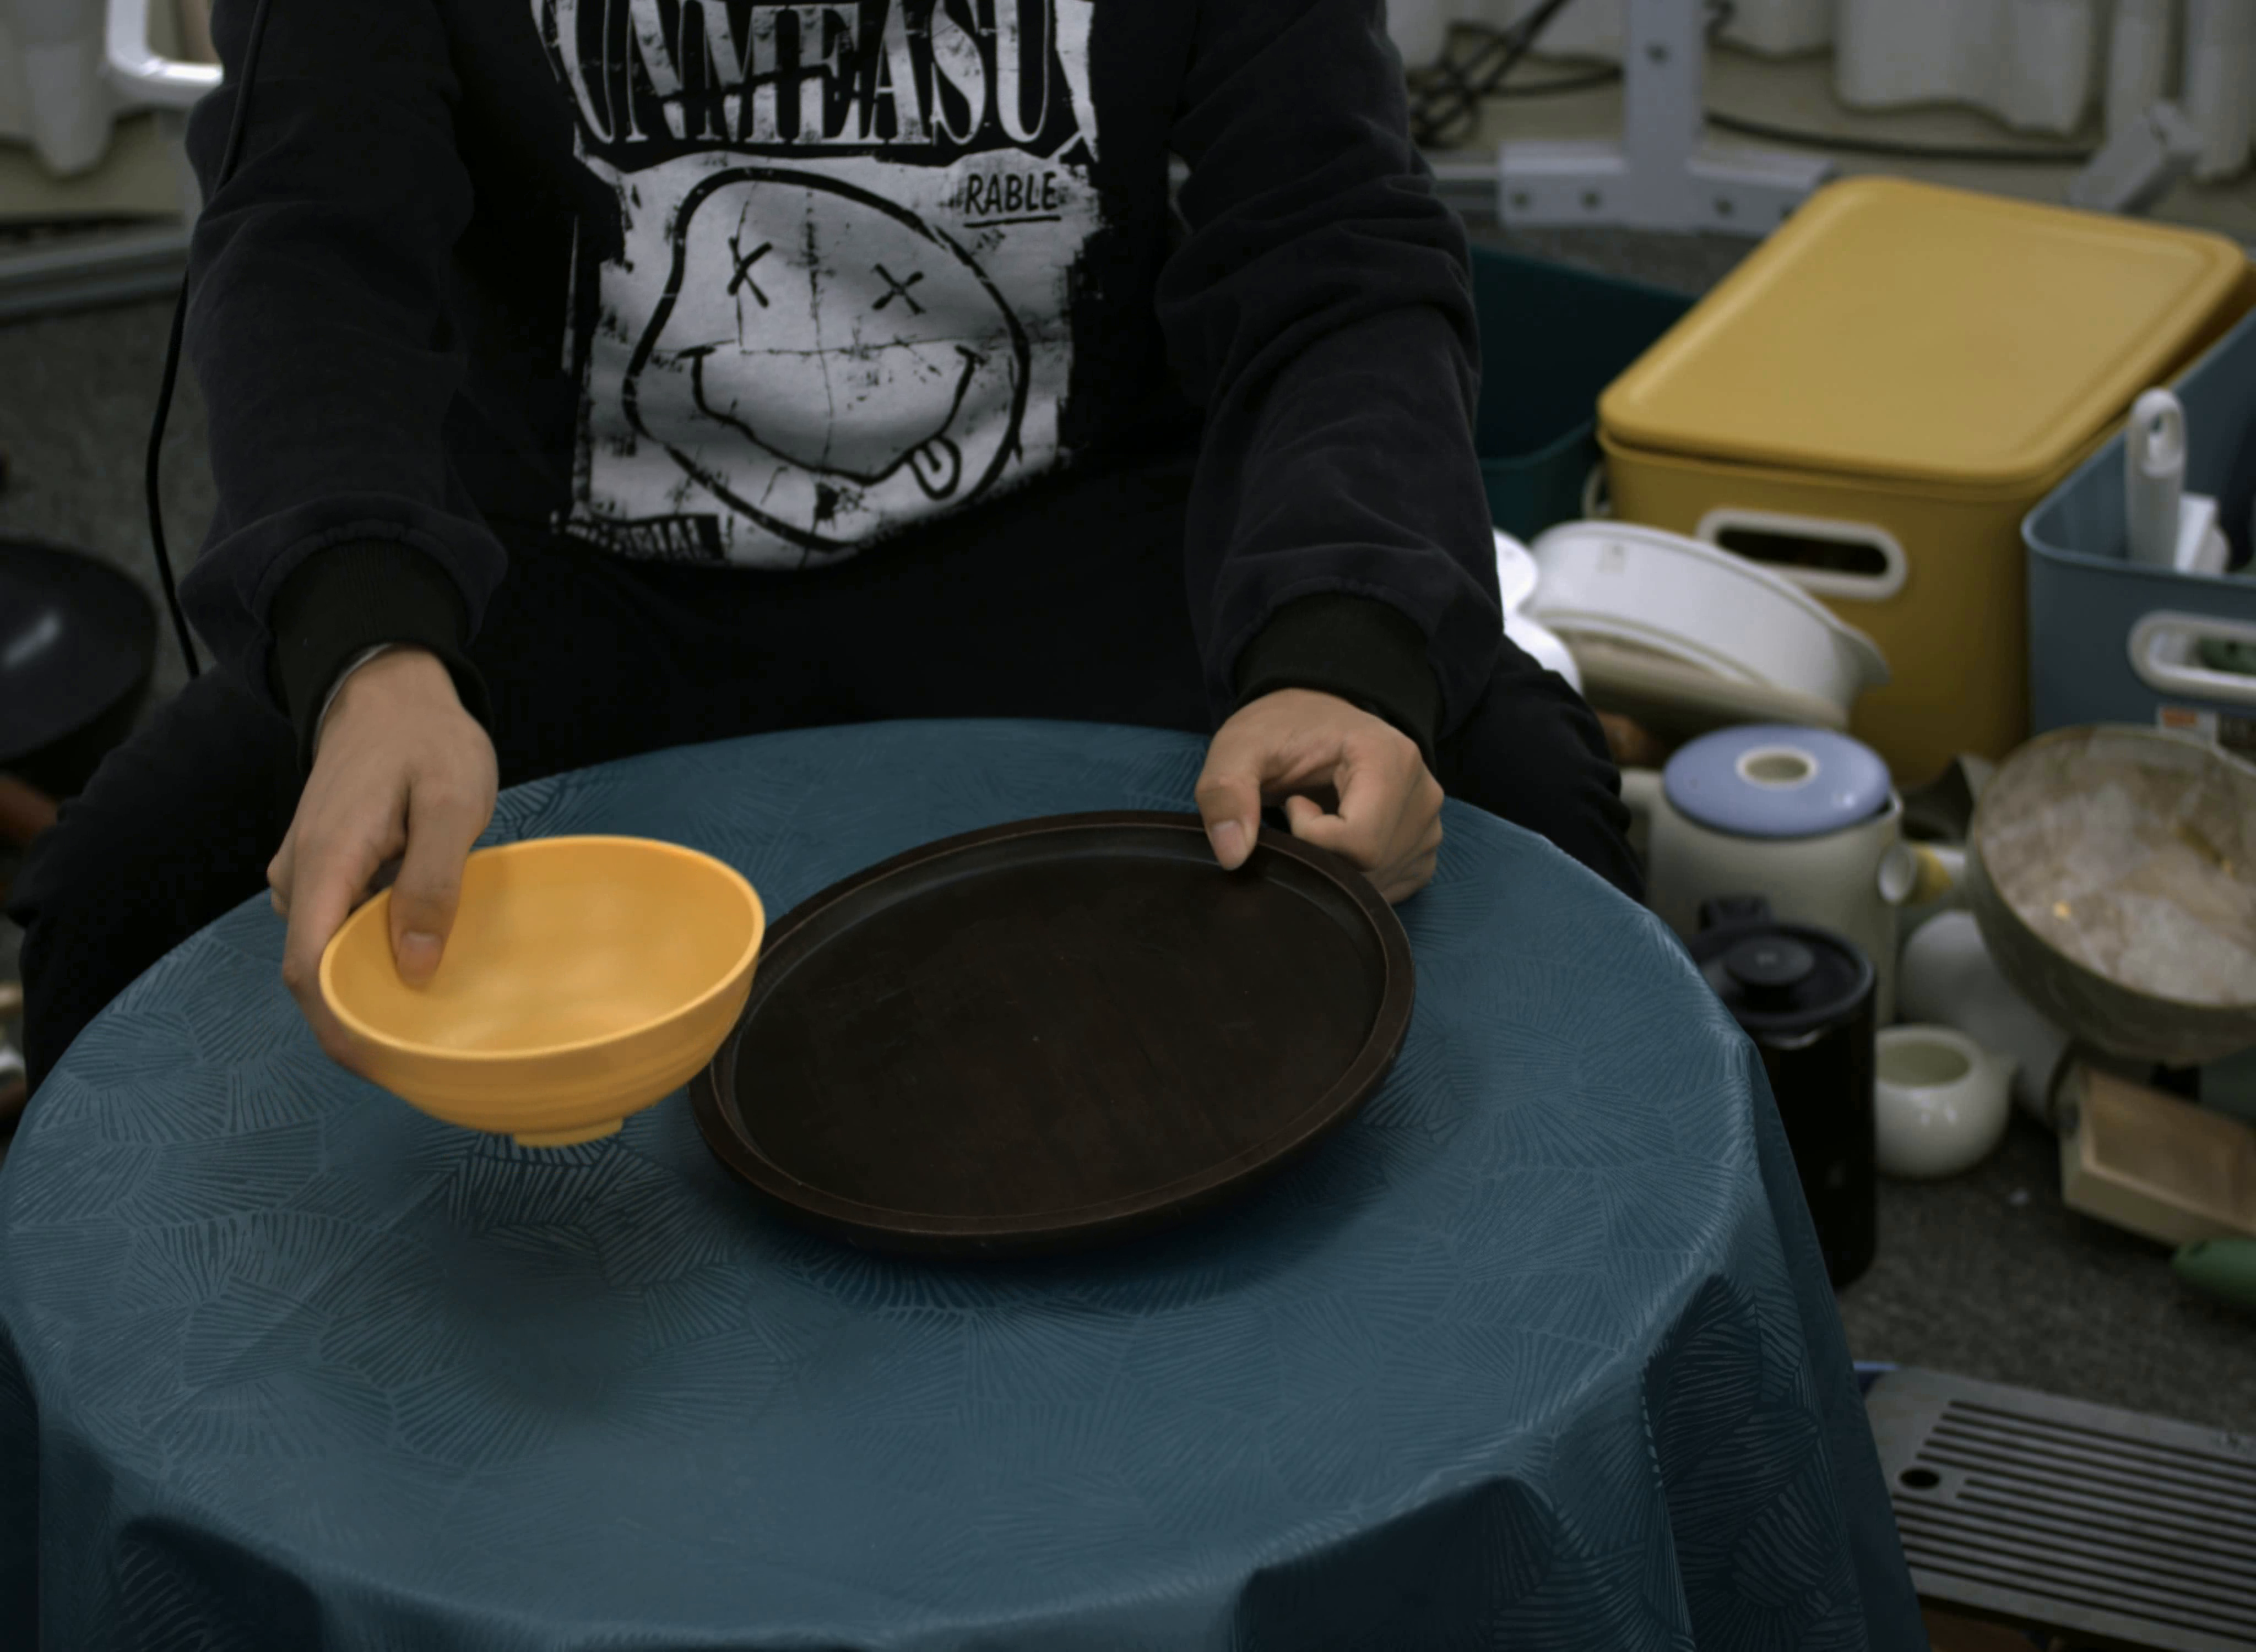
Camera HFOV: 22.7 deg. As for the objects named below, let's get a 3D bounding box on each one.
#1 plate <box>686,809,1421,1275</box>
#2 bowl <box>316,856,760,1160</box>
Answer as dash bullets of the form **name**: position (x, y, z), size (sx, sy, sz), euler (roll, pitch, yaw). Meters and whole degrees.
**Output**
- **plate**: position (-0.024, 0.072, 1.909), size (0.253, 0.029, 0.259), euler (-8, 31, 5)
- **bowl**: position (-0.189, 0.068, 1.828), size (0.144, 0.059, 0.147), euler (-4, 25, 2)
